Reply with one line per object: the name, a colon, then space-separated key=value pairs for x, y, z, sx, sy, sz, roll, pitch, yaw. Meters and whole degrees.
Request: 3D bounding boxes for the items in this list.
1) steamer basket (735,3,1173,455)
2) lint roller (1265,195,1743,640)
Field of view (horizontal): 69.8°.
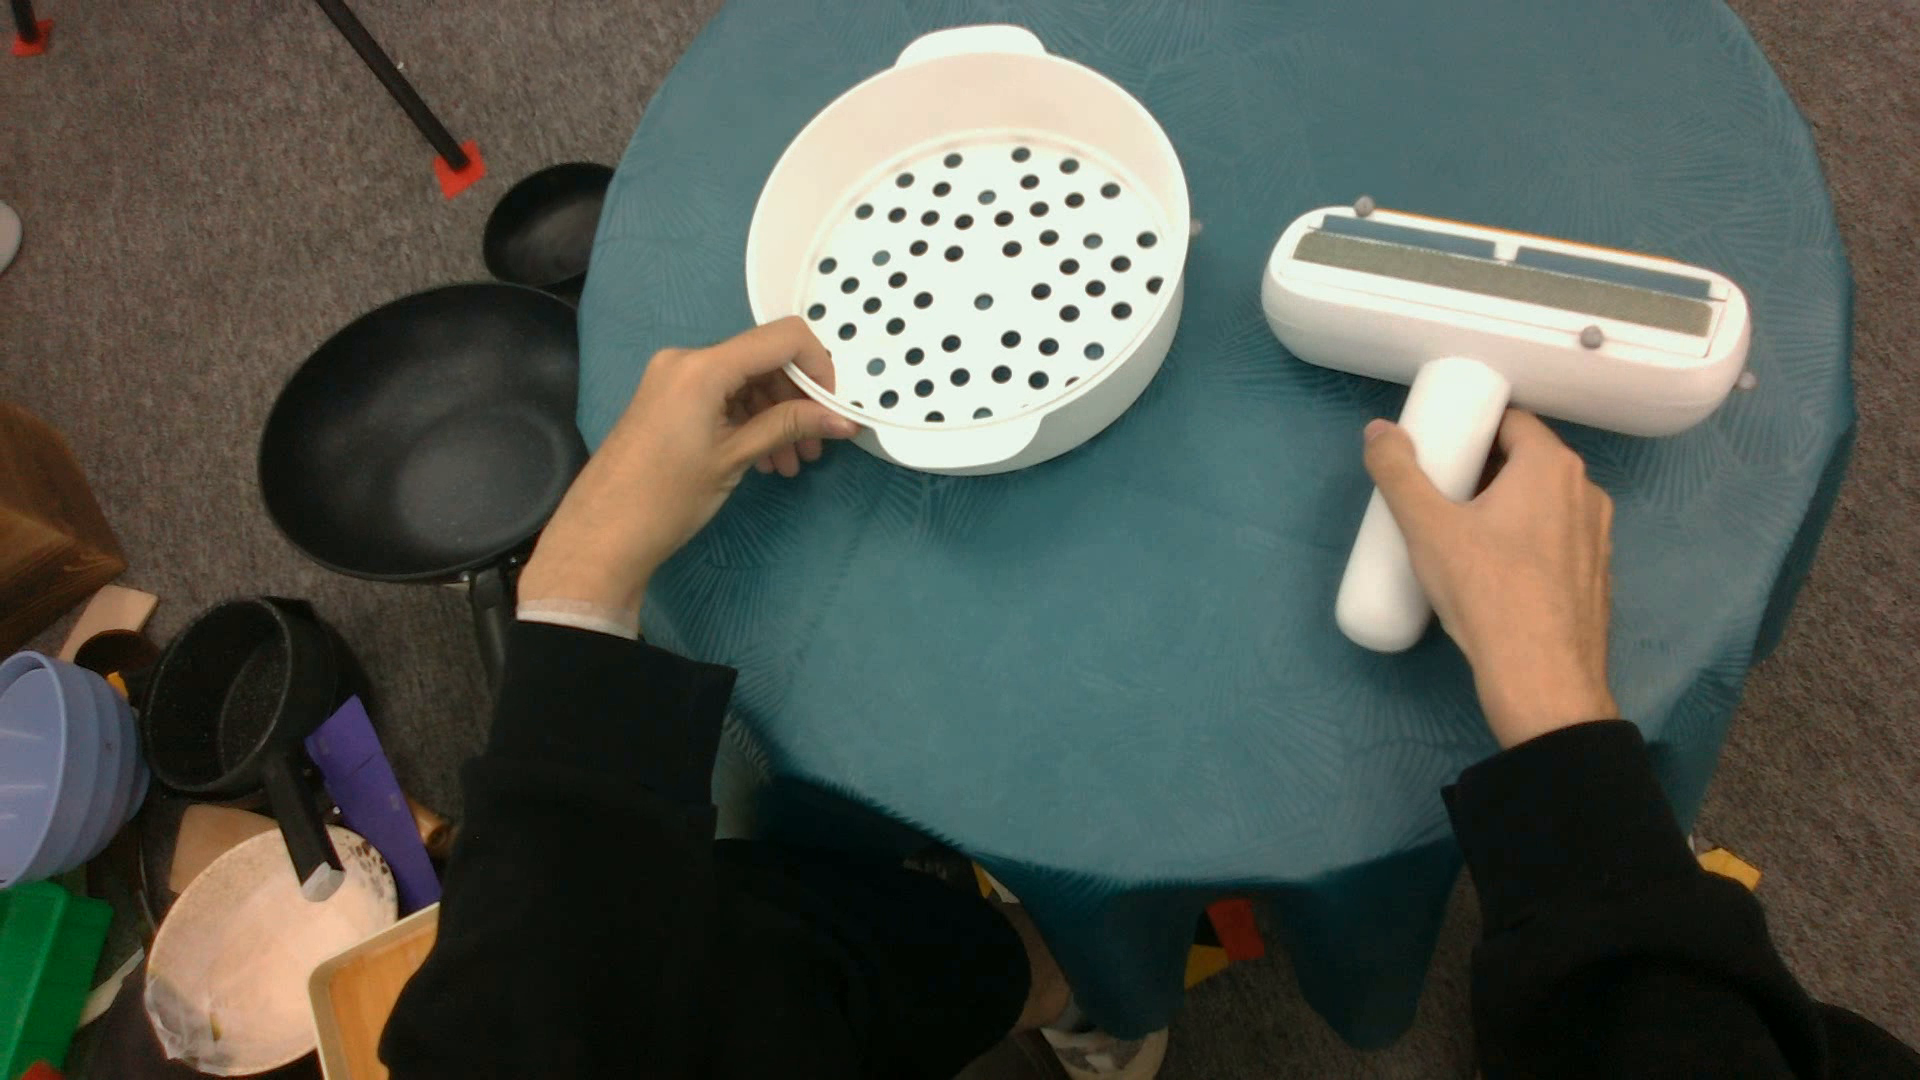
steamer basket: x=-0.001 y=-0.138 z=0.647 sx=0.201 sy=0.069 sz=0.231 roll=-4 pitch=71 yaw=10
lint roller: x=0.198 y=-0.050 z=0.573 sx=0.193 sy=0.074 sz=0.193 roll=23 pitch=68 yaw=23
